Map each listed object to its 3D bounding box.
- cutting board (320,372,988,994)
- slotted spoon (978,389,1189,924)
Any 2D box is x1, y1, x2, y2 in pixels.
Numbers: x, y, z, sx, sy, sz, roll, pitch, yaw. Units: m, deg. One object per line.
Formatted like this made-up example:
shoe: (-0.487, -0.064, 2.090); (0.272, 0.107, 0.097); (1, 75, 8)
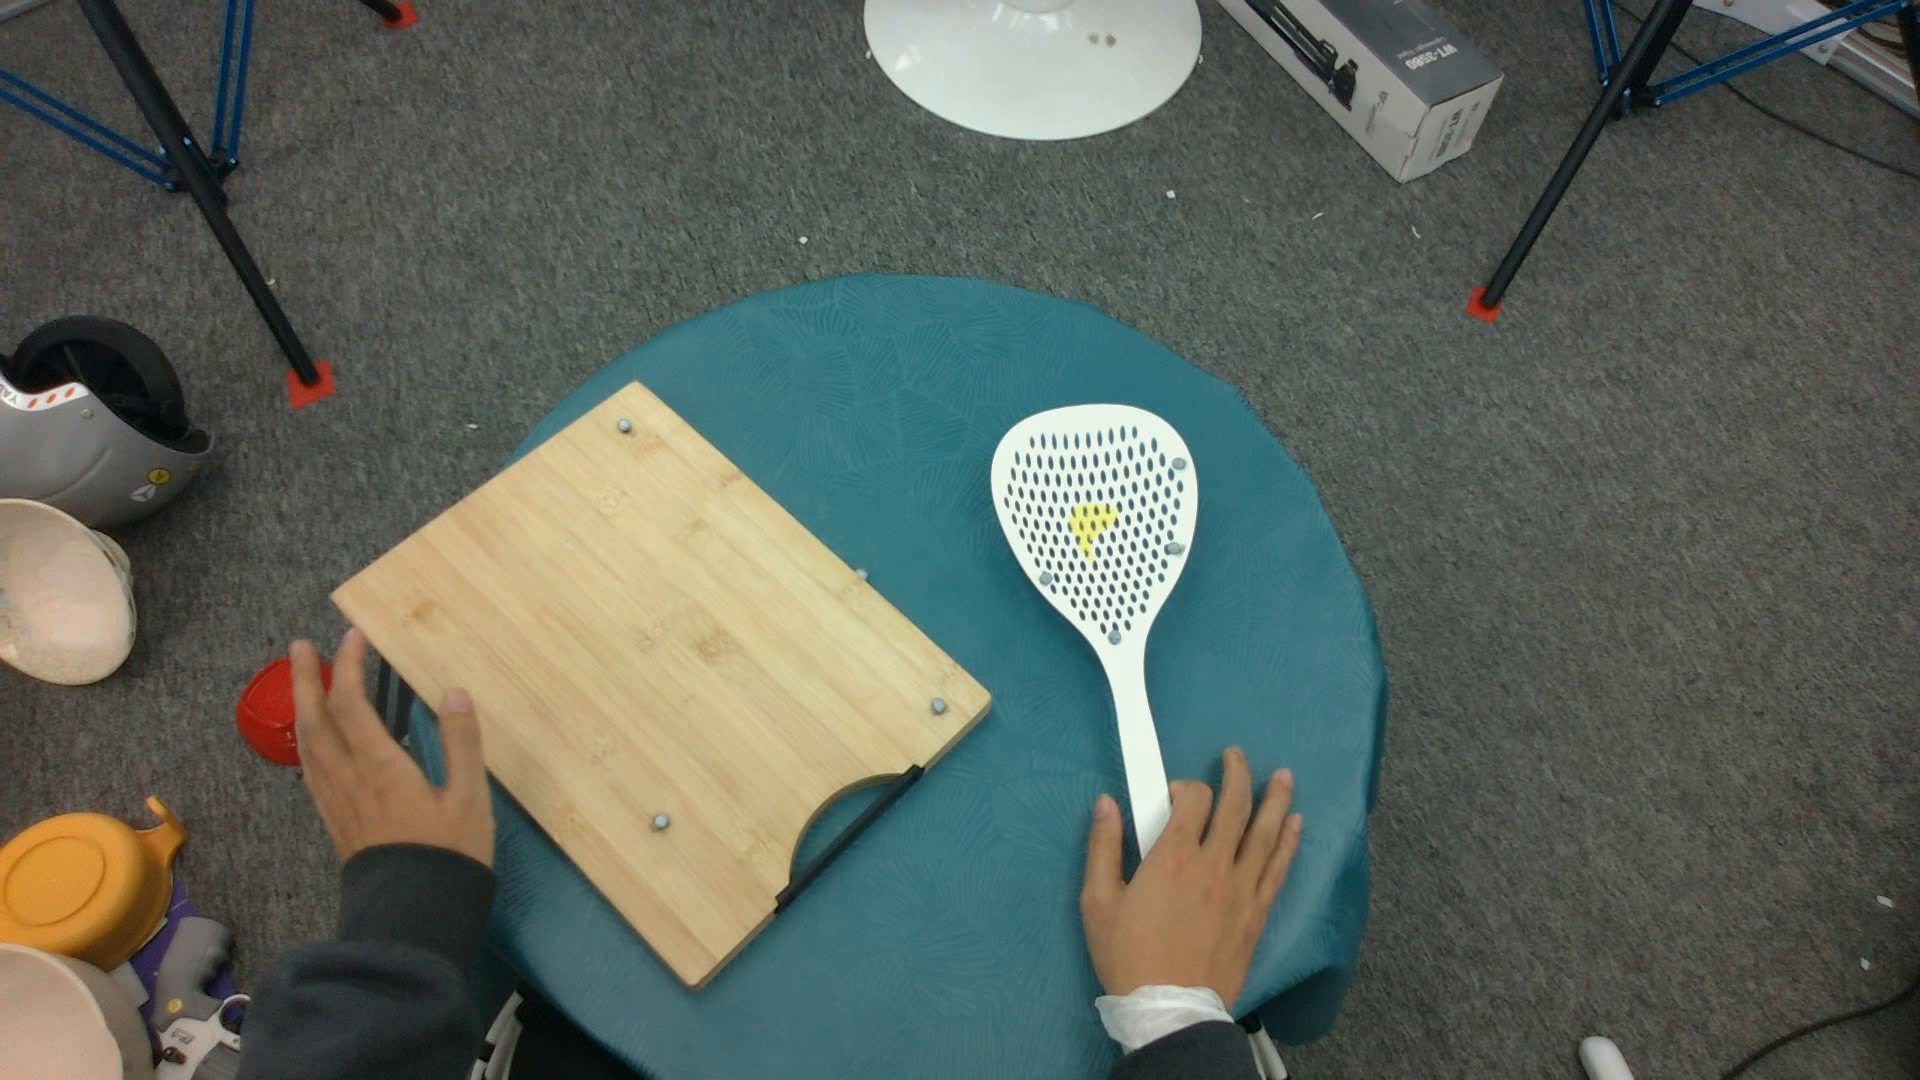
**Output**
cutting board: (-0.188, 0.064, 0.848); (0.349, 0.023, 0.251); (39, 65, 18)
slotted spoon: (0.094, 0.059, 0.855); (0.137, 0.050, 0.349); (-6, 60, -5)
